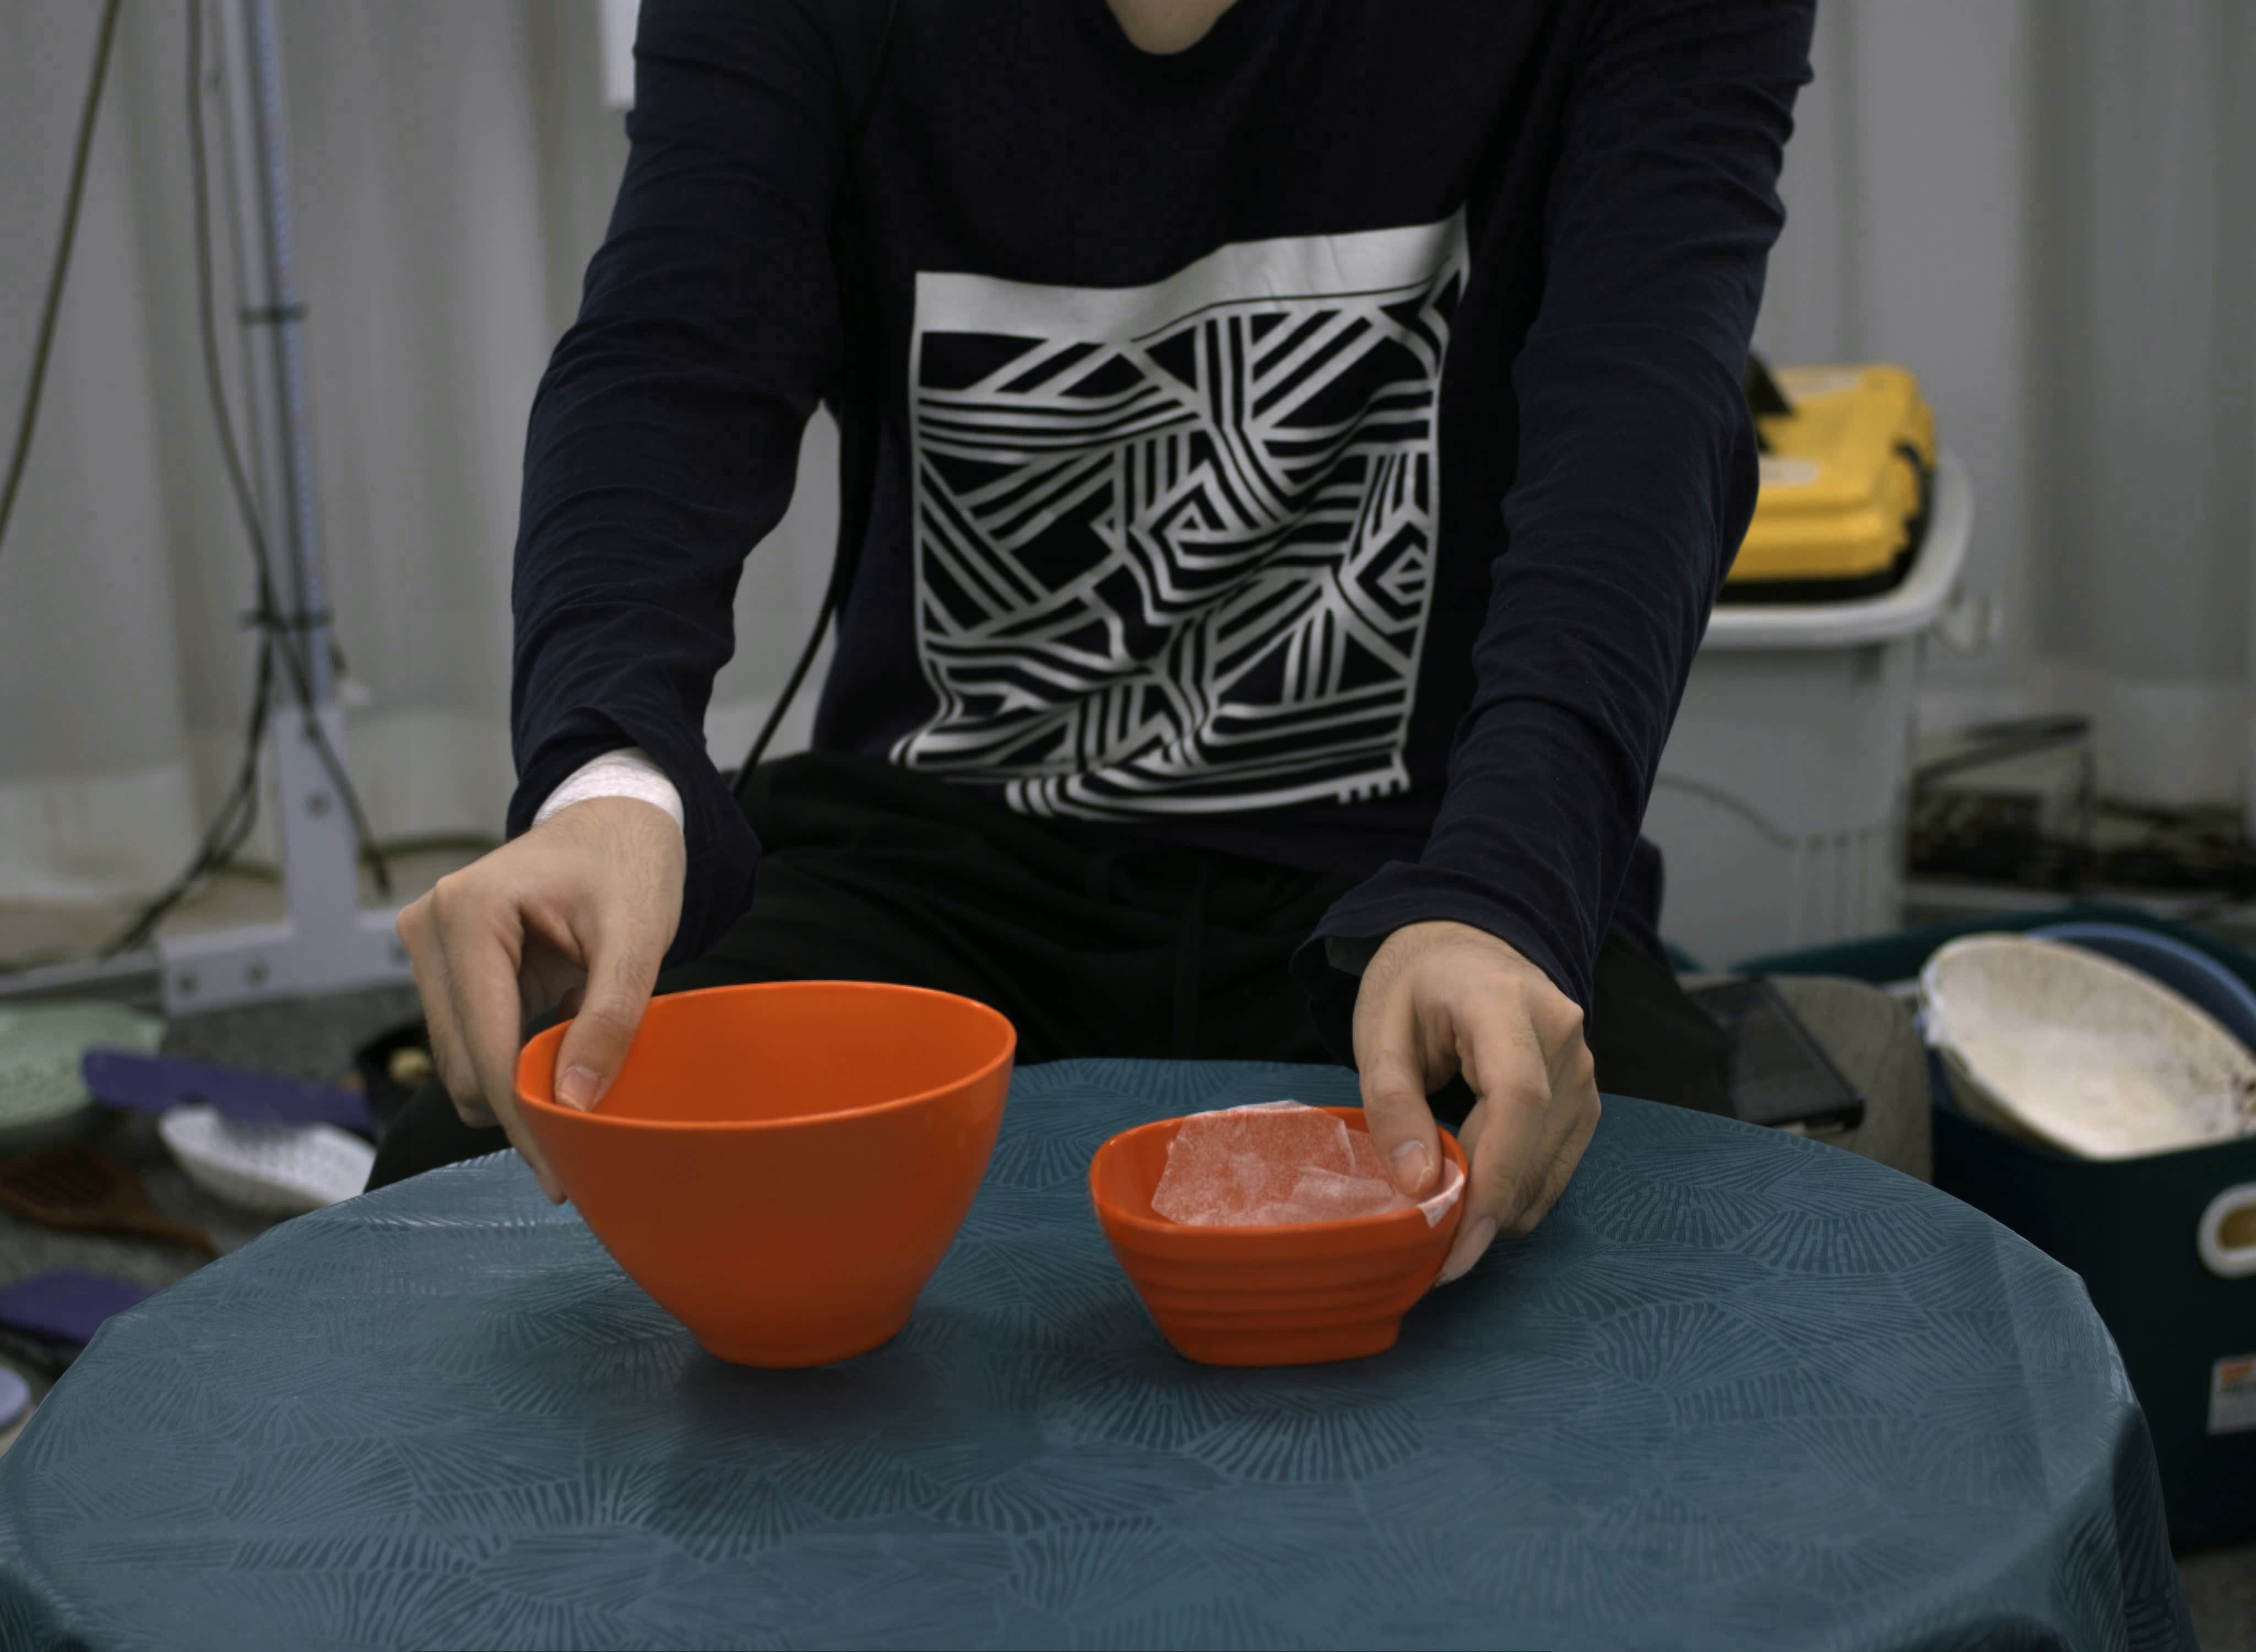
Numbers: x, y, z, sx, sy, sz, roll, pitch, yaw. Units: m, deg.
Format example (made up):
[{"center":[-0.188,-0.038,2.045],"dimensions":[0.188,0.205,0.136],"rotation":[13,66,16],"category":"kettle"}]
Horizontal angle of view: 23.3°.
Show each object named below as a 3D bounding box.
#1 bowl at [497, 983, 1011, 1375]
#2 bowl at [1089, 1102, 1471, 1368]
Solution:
[{"center":[-0.103,0.103,1.578],"dimensions":[0.147,0.104,0.149],"rotation":[-5,22,2],"category":"bowl"},{"center":[0.045,0.121,1.585],"dimensions":[0.118,0.051,0.120],"rotation":[-4,15,1],"category":"bowl"}]
